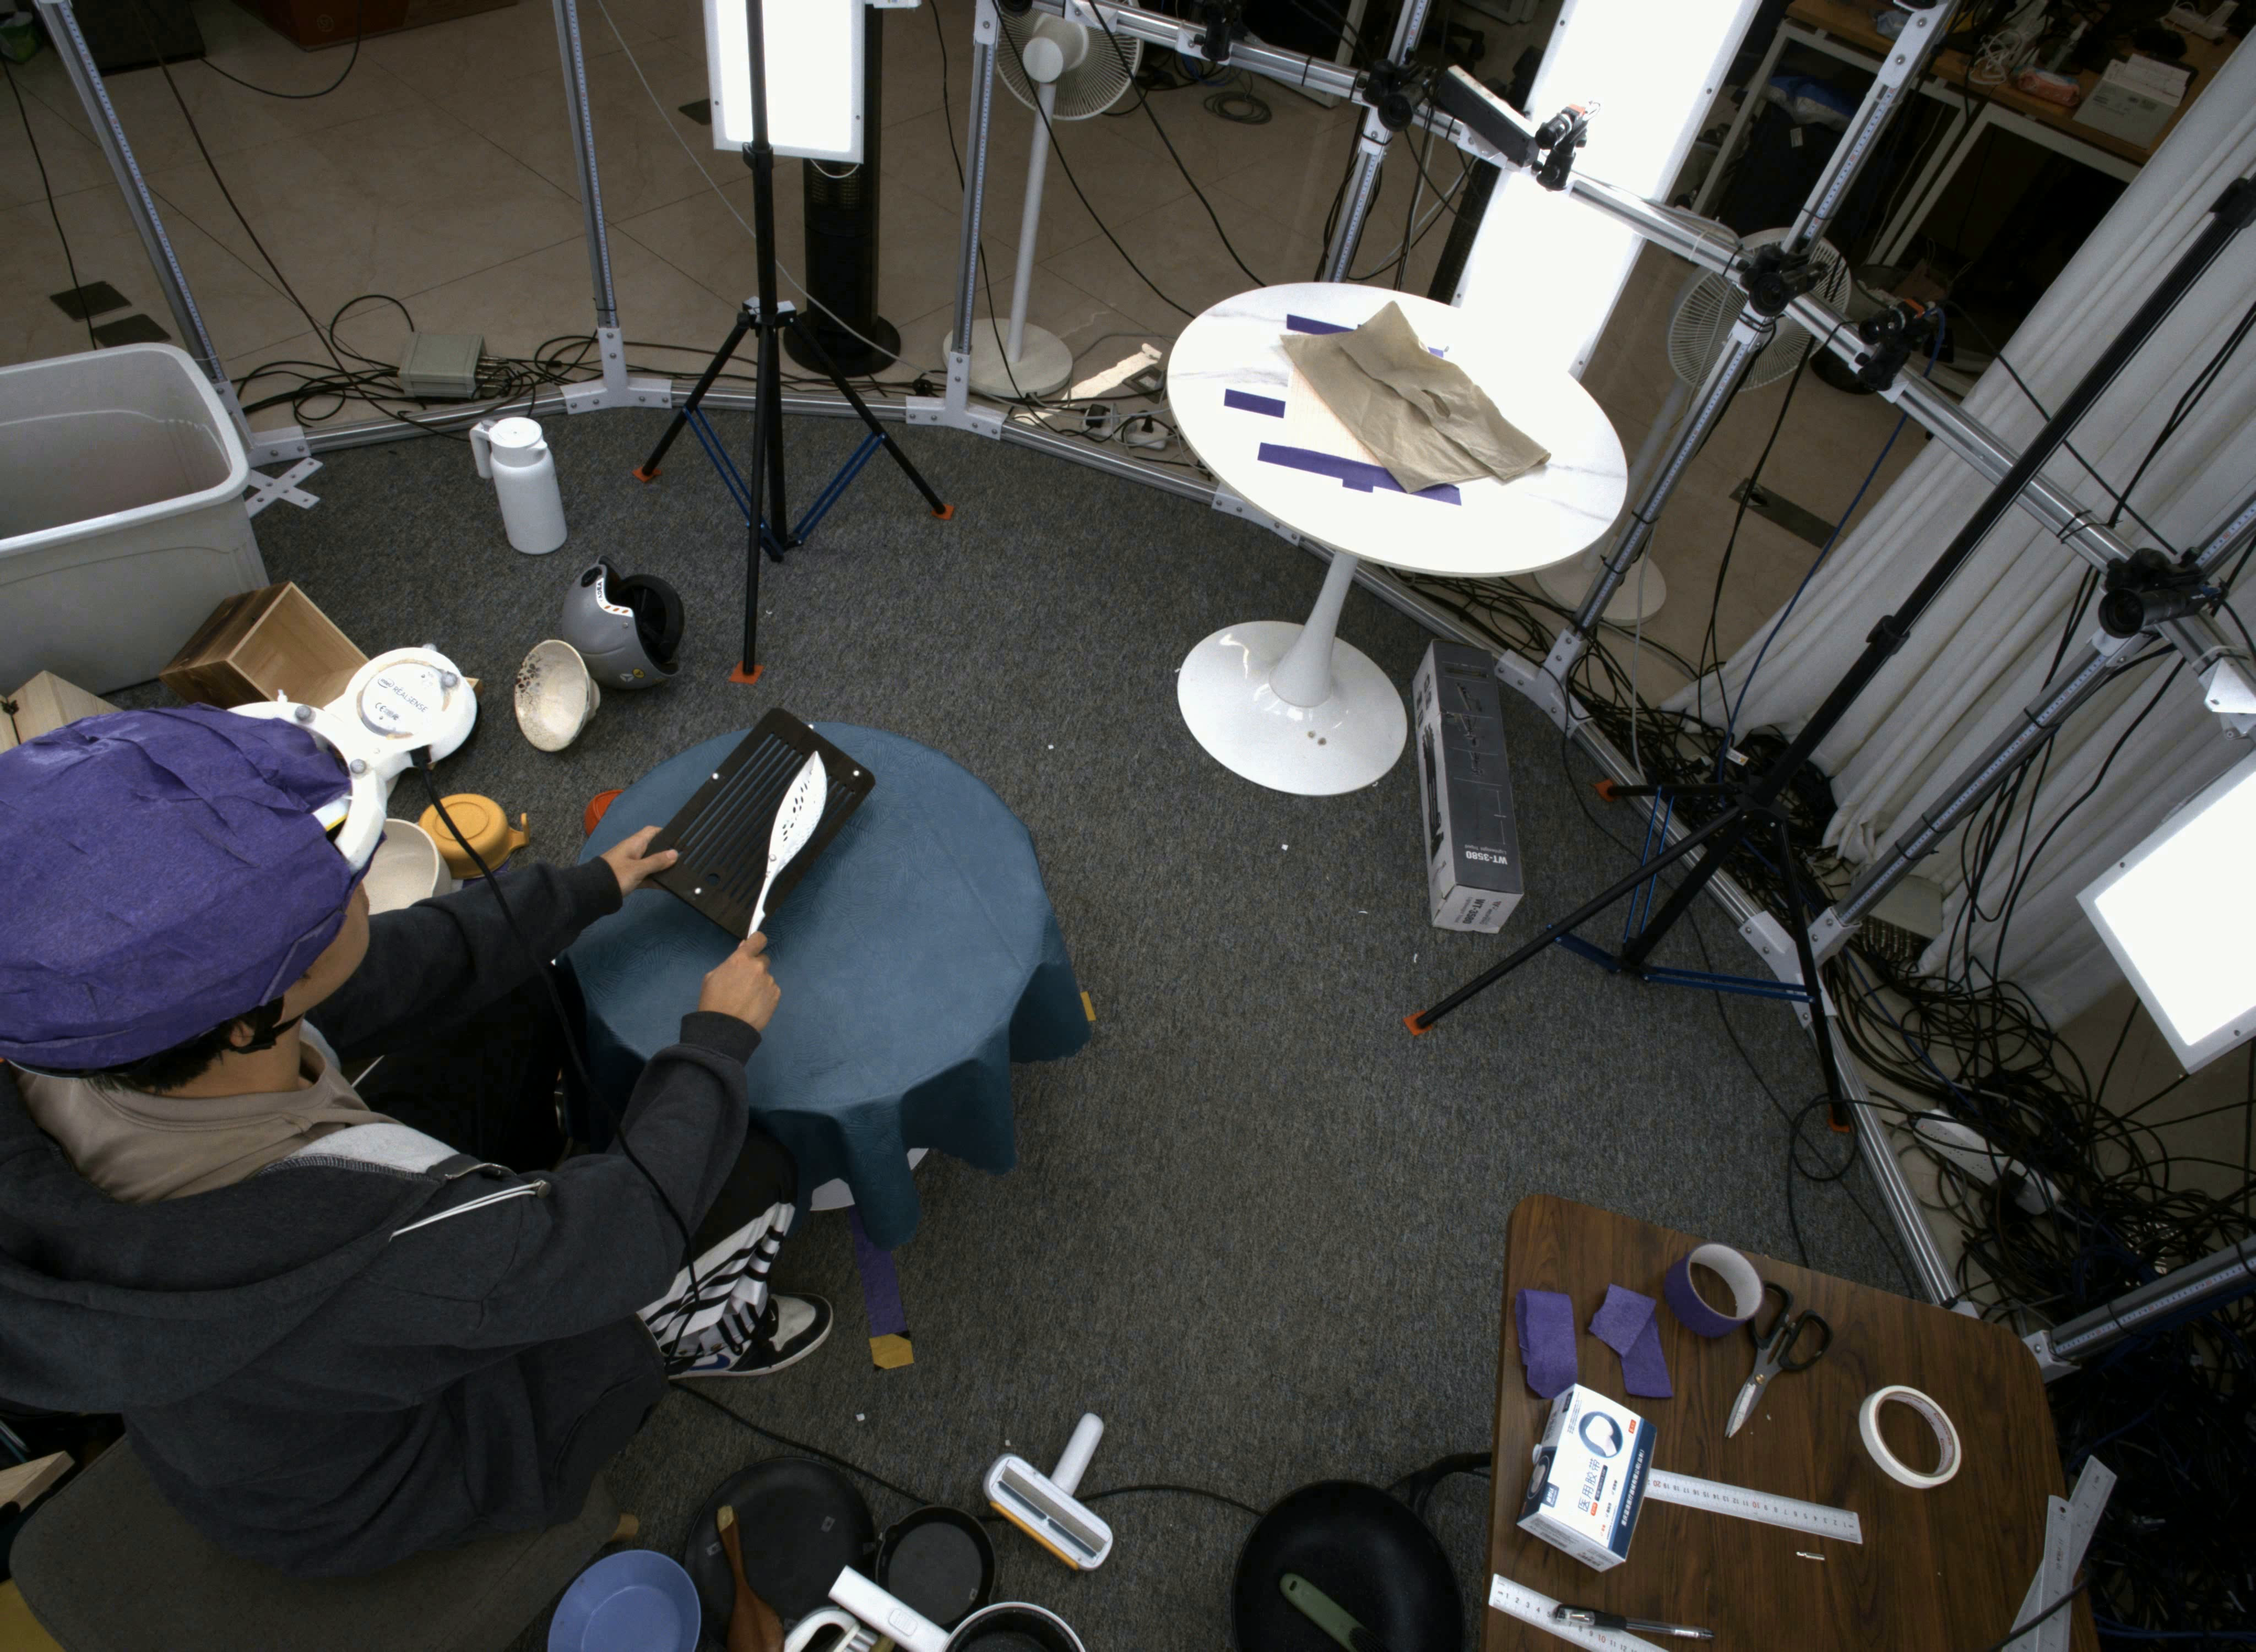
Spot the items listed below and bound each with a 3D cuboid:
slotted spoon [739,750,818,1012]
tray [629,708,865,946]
[{"bbox_3d":[-0.423,0.062,1.529,0.051,0.136,0.343,28,48,-20],"label":"slotted spoon"},{"bbox_3d":[-0.477,-0.005,1.637,0.172,0.018,0.304,37,52,-10],"label":"tray"}]
